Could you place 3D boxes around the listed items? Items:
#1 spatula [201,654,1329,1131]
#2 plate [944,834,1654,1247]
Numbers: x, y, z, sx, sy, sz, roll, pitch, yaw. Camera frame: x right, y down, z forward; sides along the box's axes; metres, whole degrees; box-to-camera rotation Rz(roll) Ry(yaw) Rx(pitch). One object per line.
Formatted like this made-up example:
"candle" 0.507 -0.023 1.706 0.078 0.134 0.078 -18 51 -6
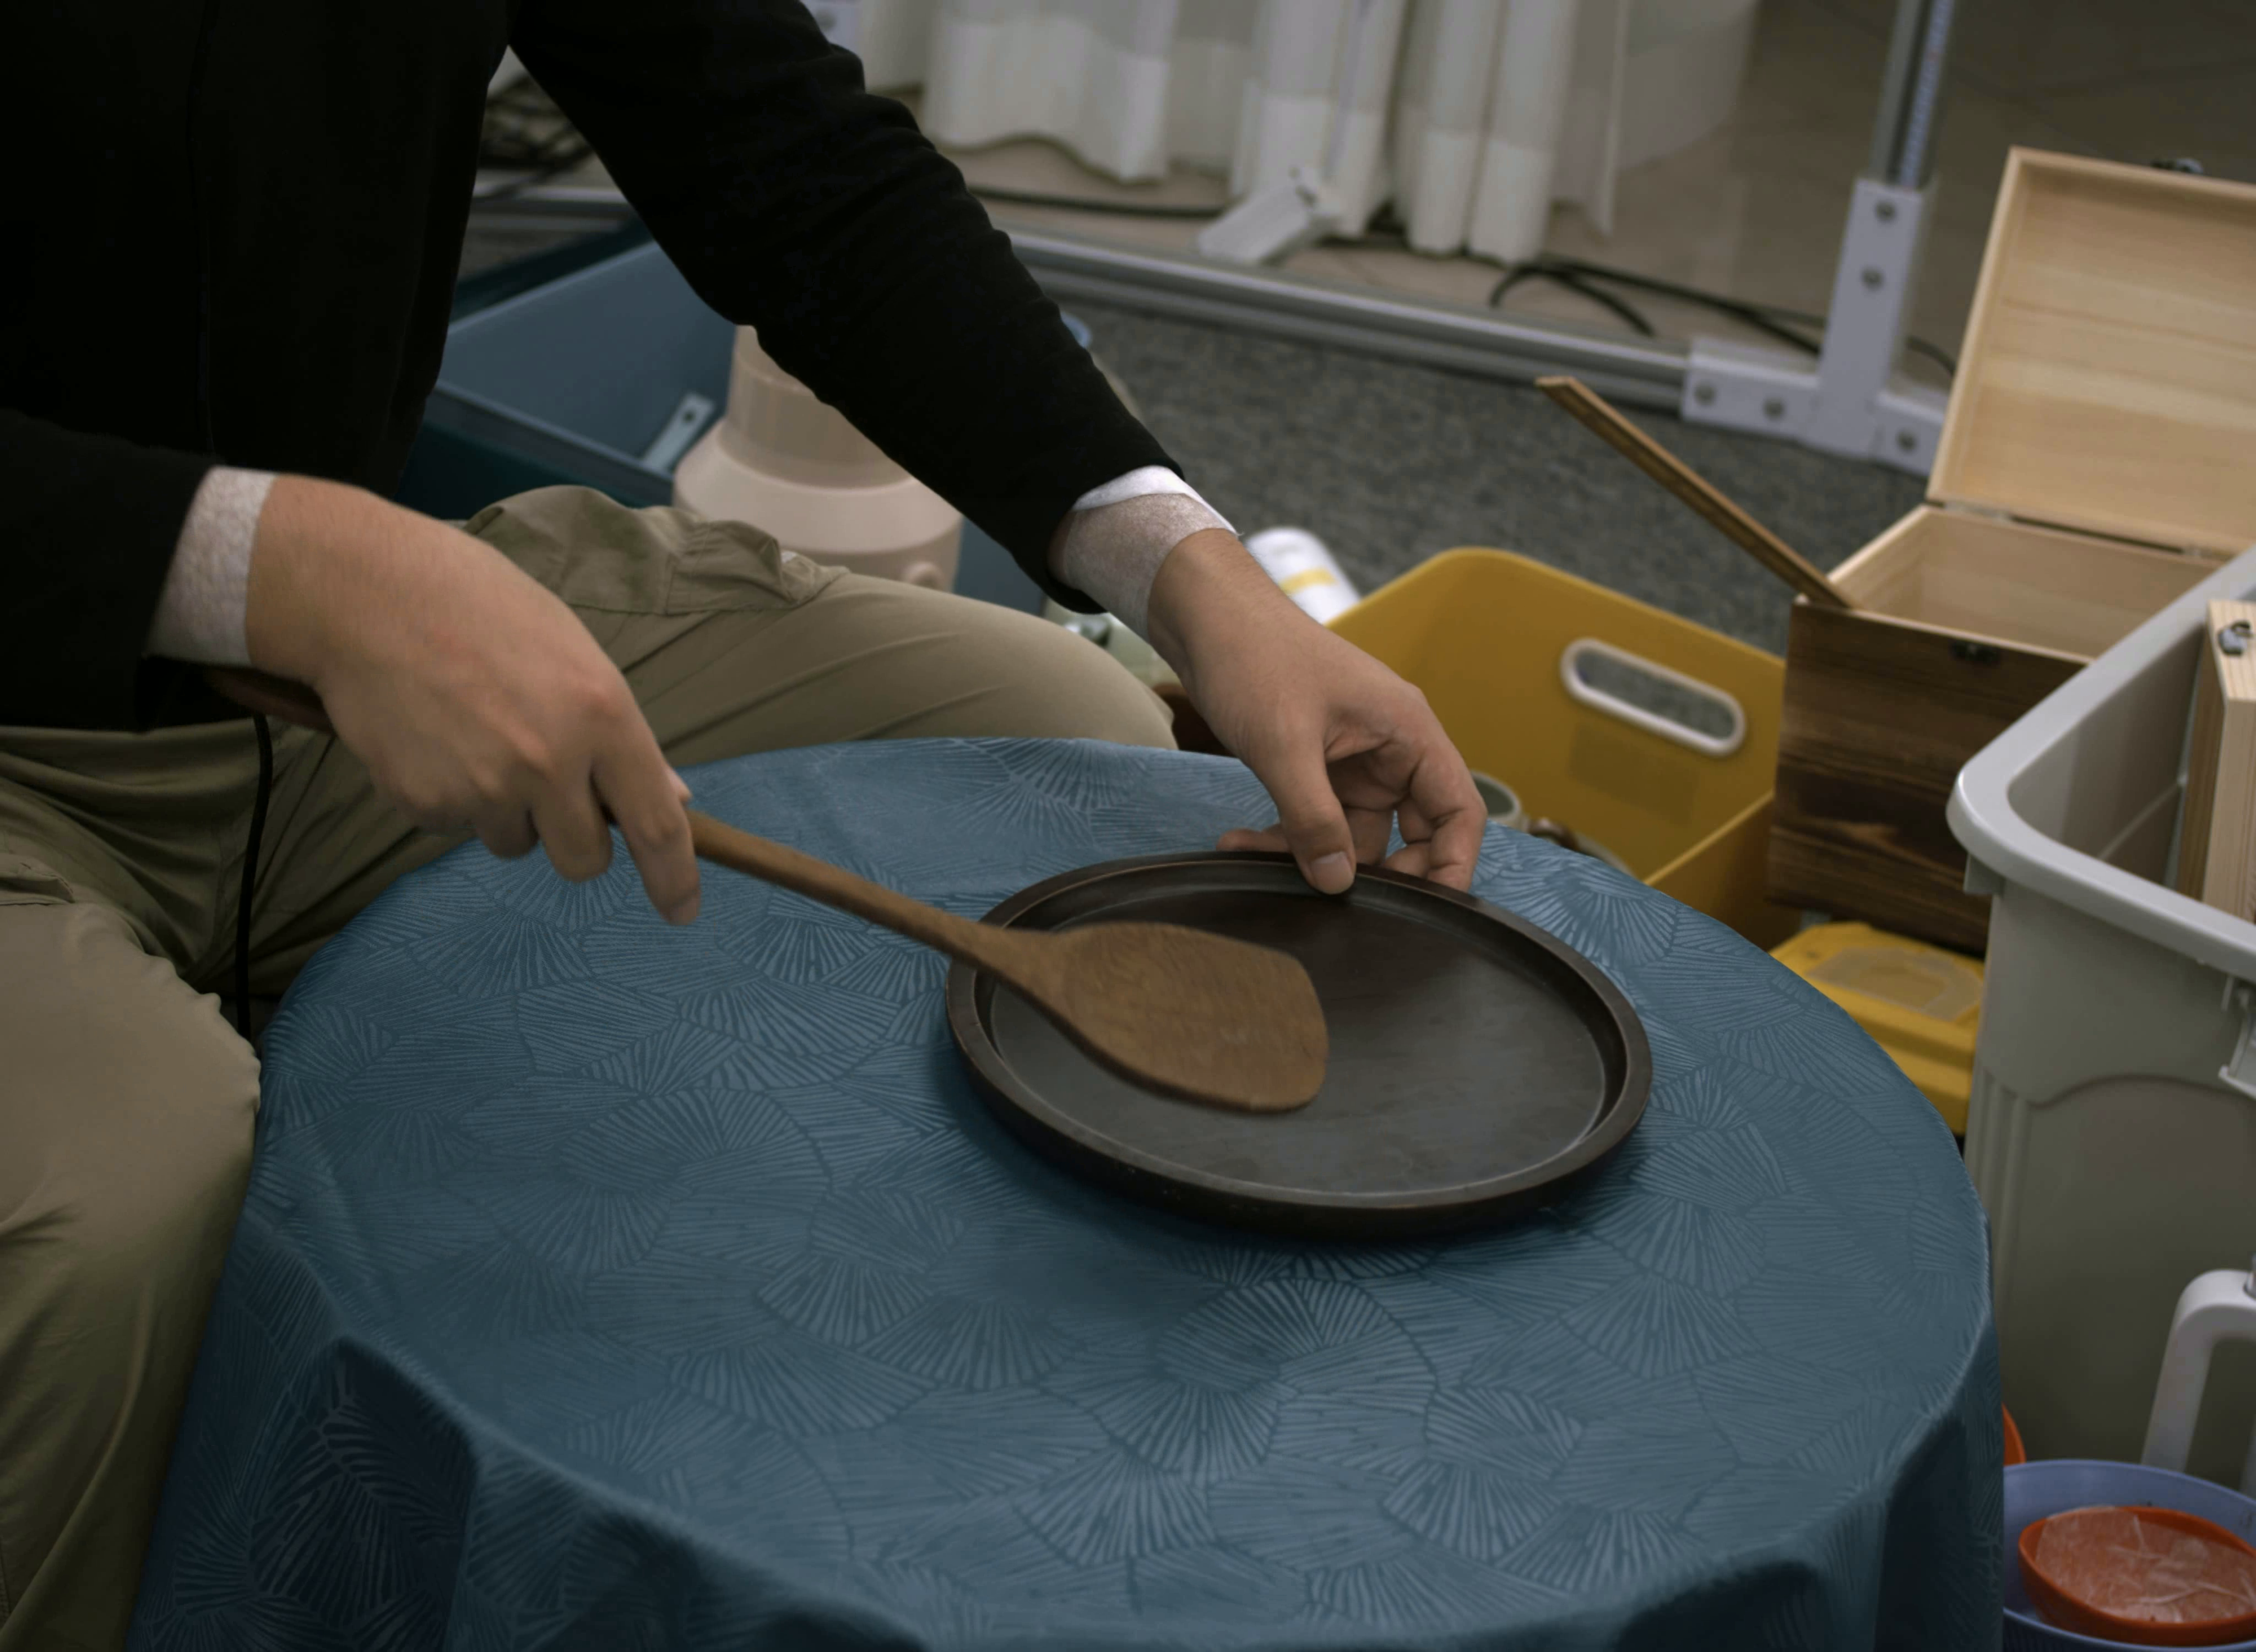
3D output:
"spatula" -0.114 0.015 1.712 0.384 0.016 0.096 21 32 -7
"plate" 0.060 0.077 1.880 0.254 0.029 0.256 4 28 -2
